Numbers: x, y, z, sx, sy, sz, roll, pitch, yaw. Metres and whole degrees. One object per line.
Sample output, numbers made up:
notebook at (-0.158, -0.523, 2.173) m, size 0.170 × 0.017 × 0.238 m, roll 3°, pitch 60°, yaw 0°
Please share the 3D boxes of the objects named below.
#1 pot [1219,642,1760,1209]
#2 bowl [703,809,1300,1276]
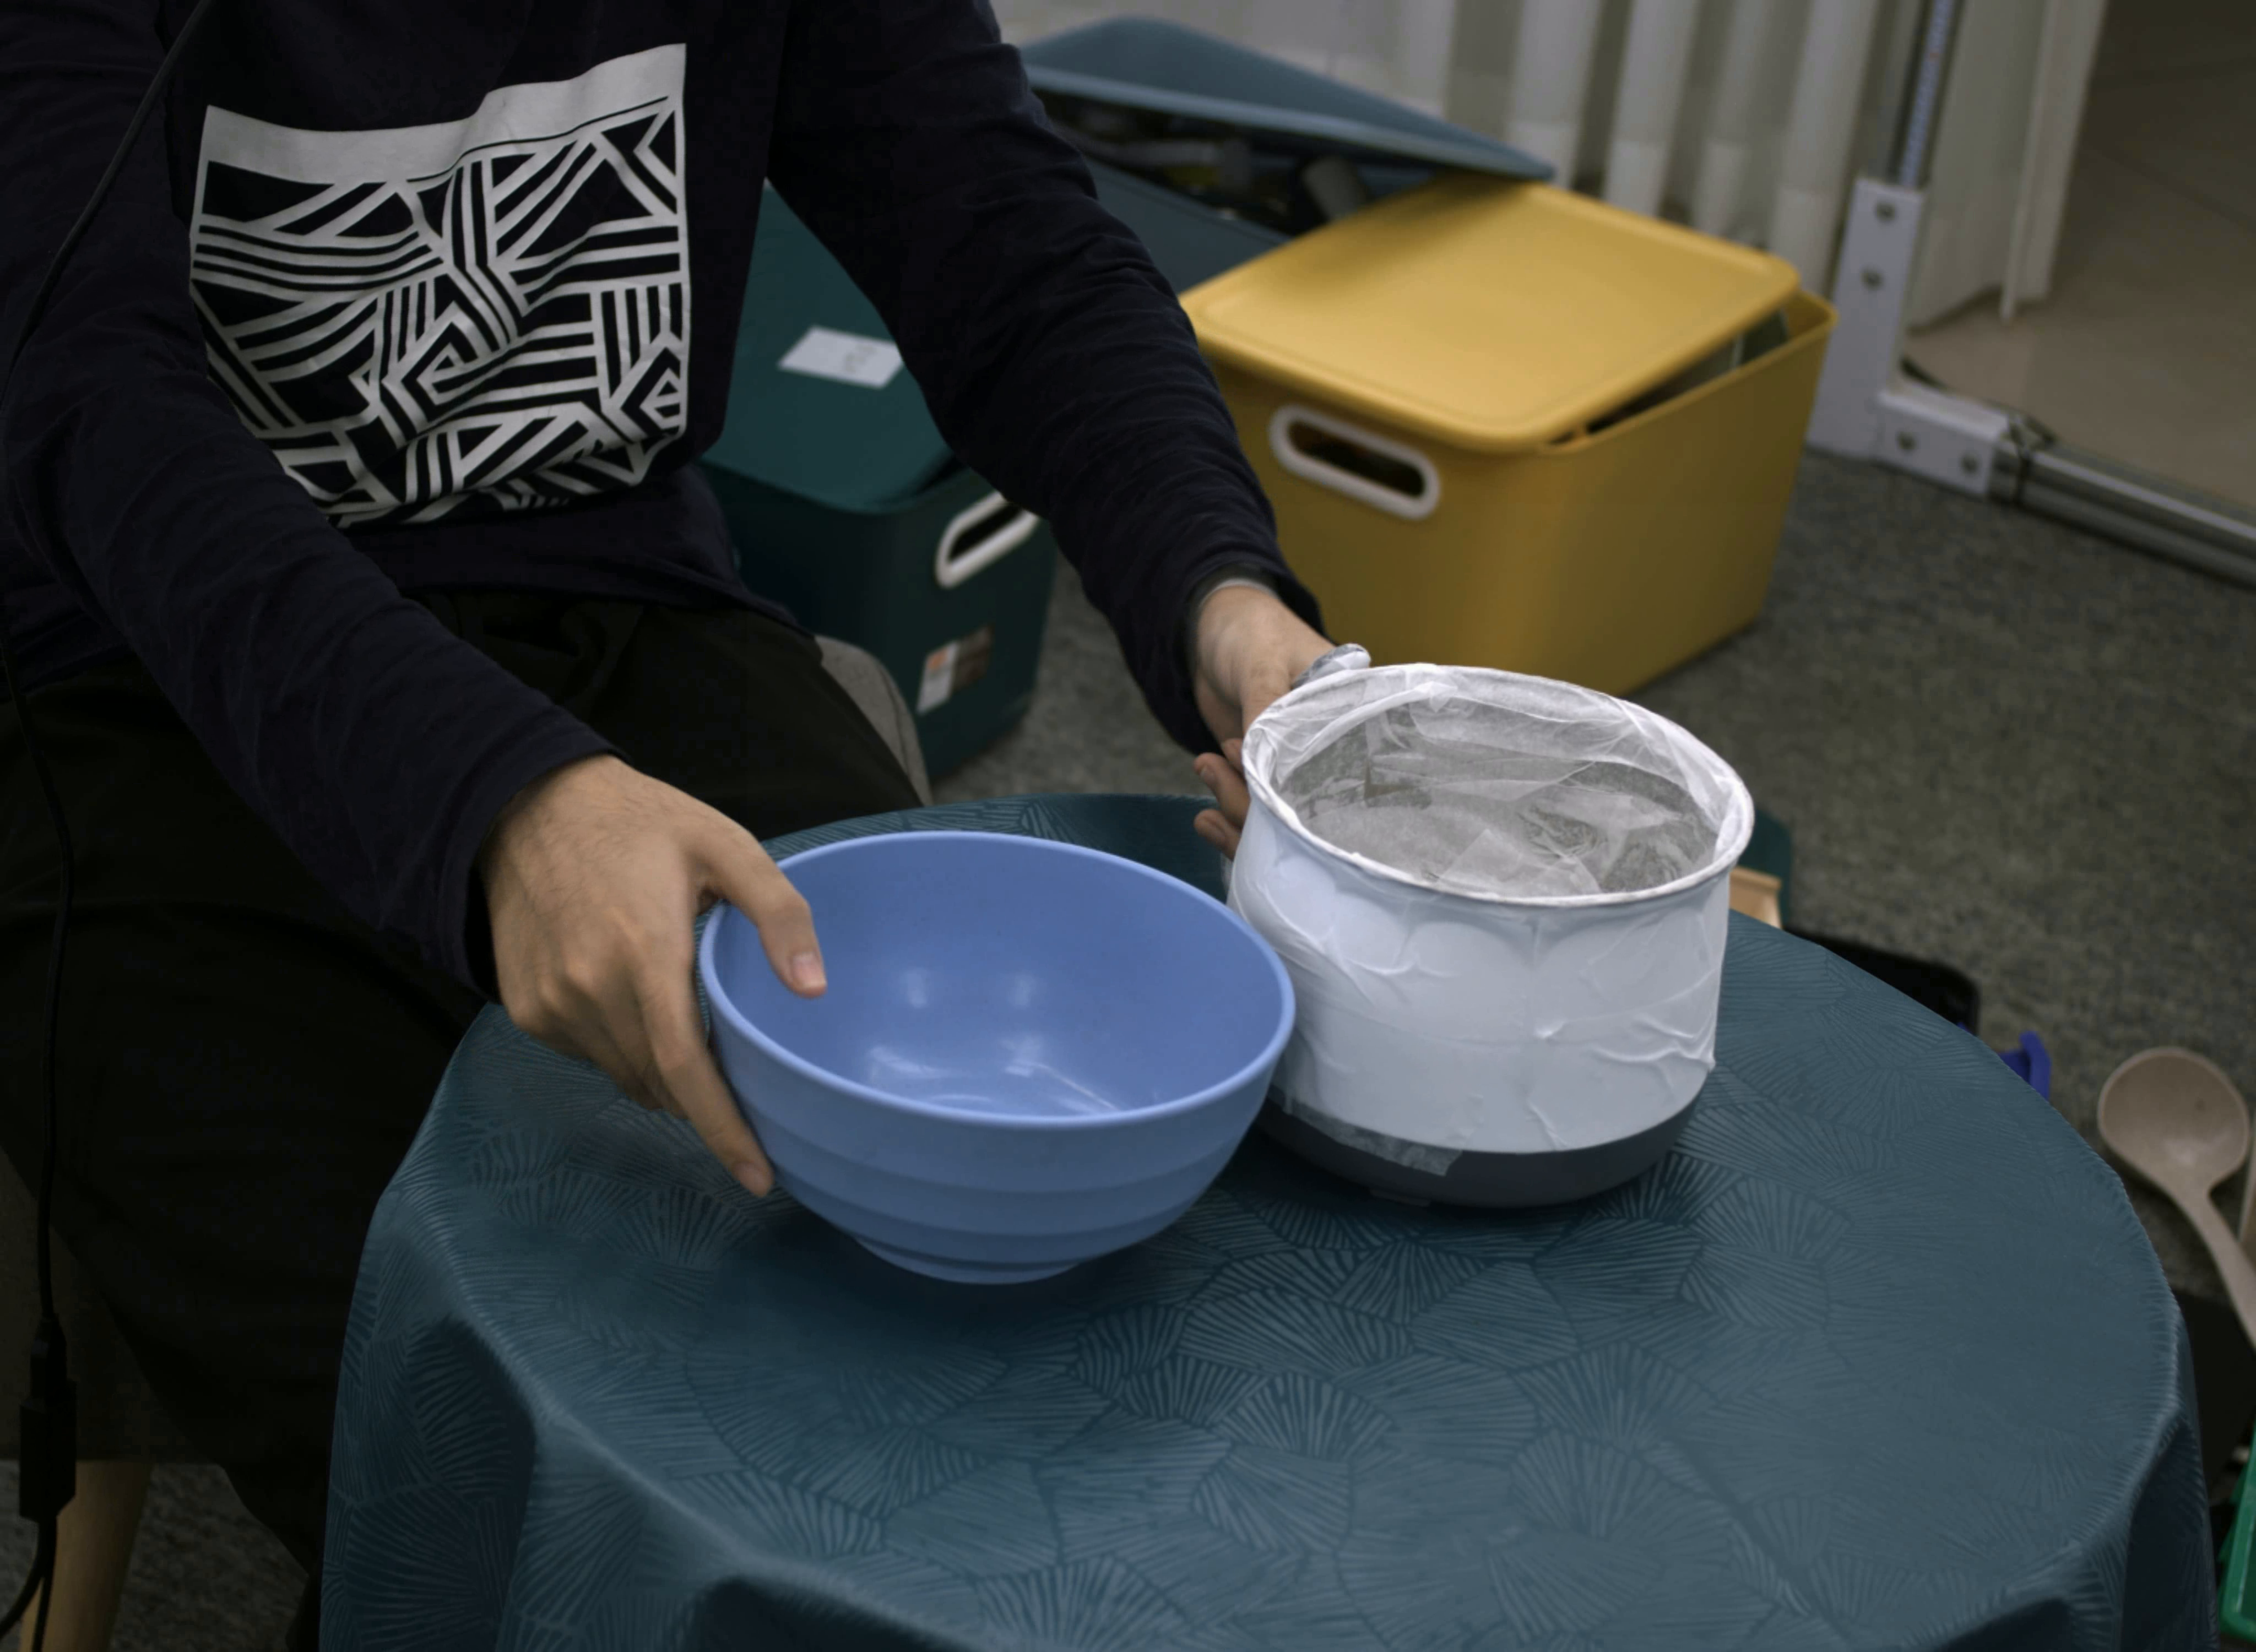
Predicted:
pot at (0.106, 0.028, 1.868) m, size 0.177 × 0.136 × 0.236 m, roll -7°, pitch 30°, yaw -30°
bowl at (-0.047, 0.084, 1.760) m, size 0.196 × 0.095 × 0.198 m, roll 6°, pitch 31°, yaw -4°
